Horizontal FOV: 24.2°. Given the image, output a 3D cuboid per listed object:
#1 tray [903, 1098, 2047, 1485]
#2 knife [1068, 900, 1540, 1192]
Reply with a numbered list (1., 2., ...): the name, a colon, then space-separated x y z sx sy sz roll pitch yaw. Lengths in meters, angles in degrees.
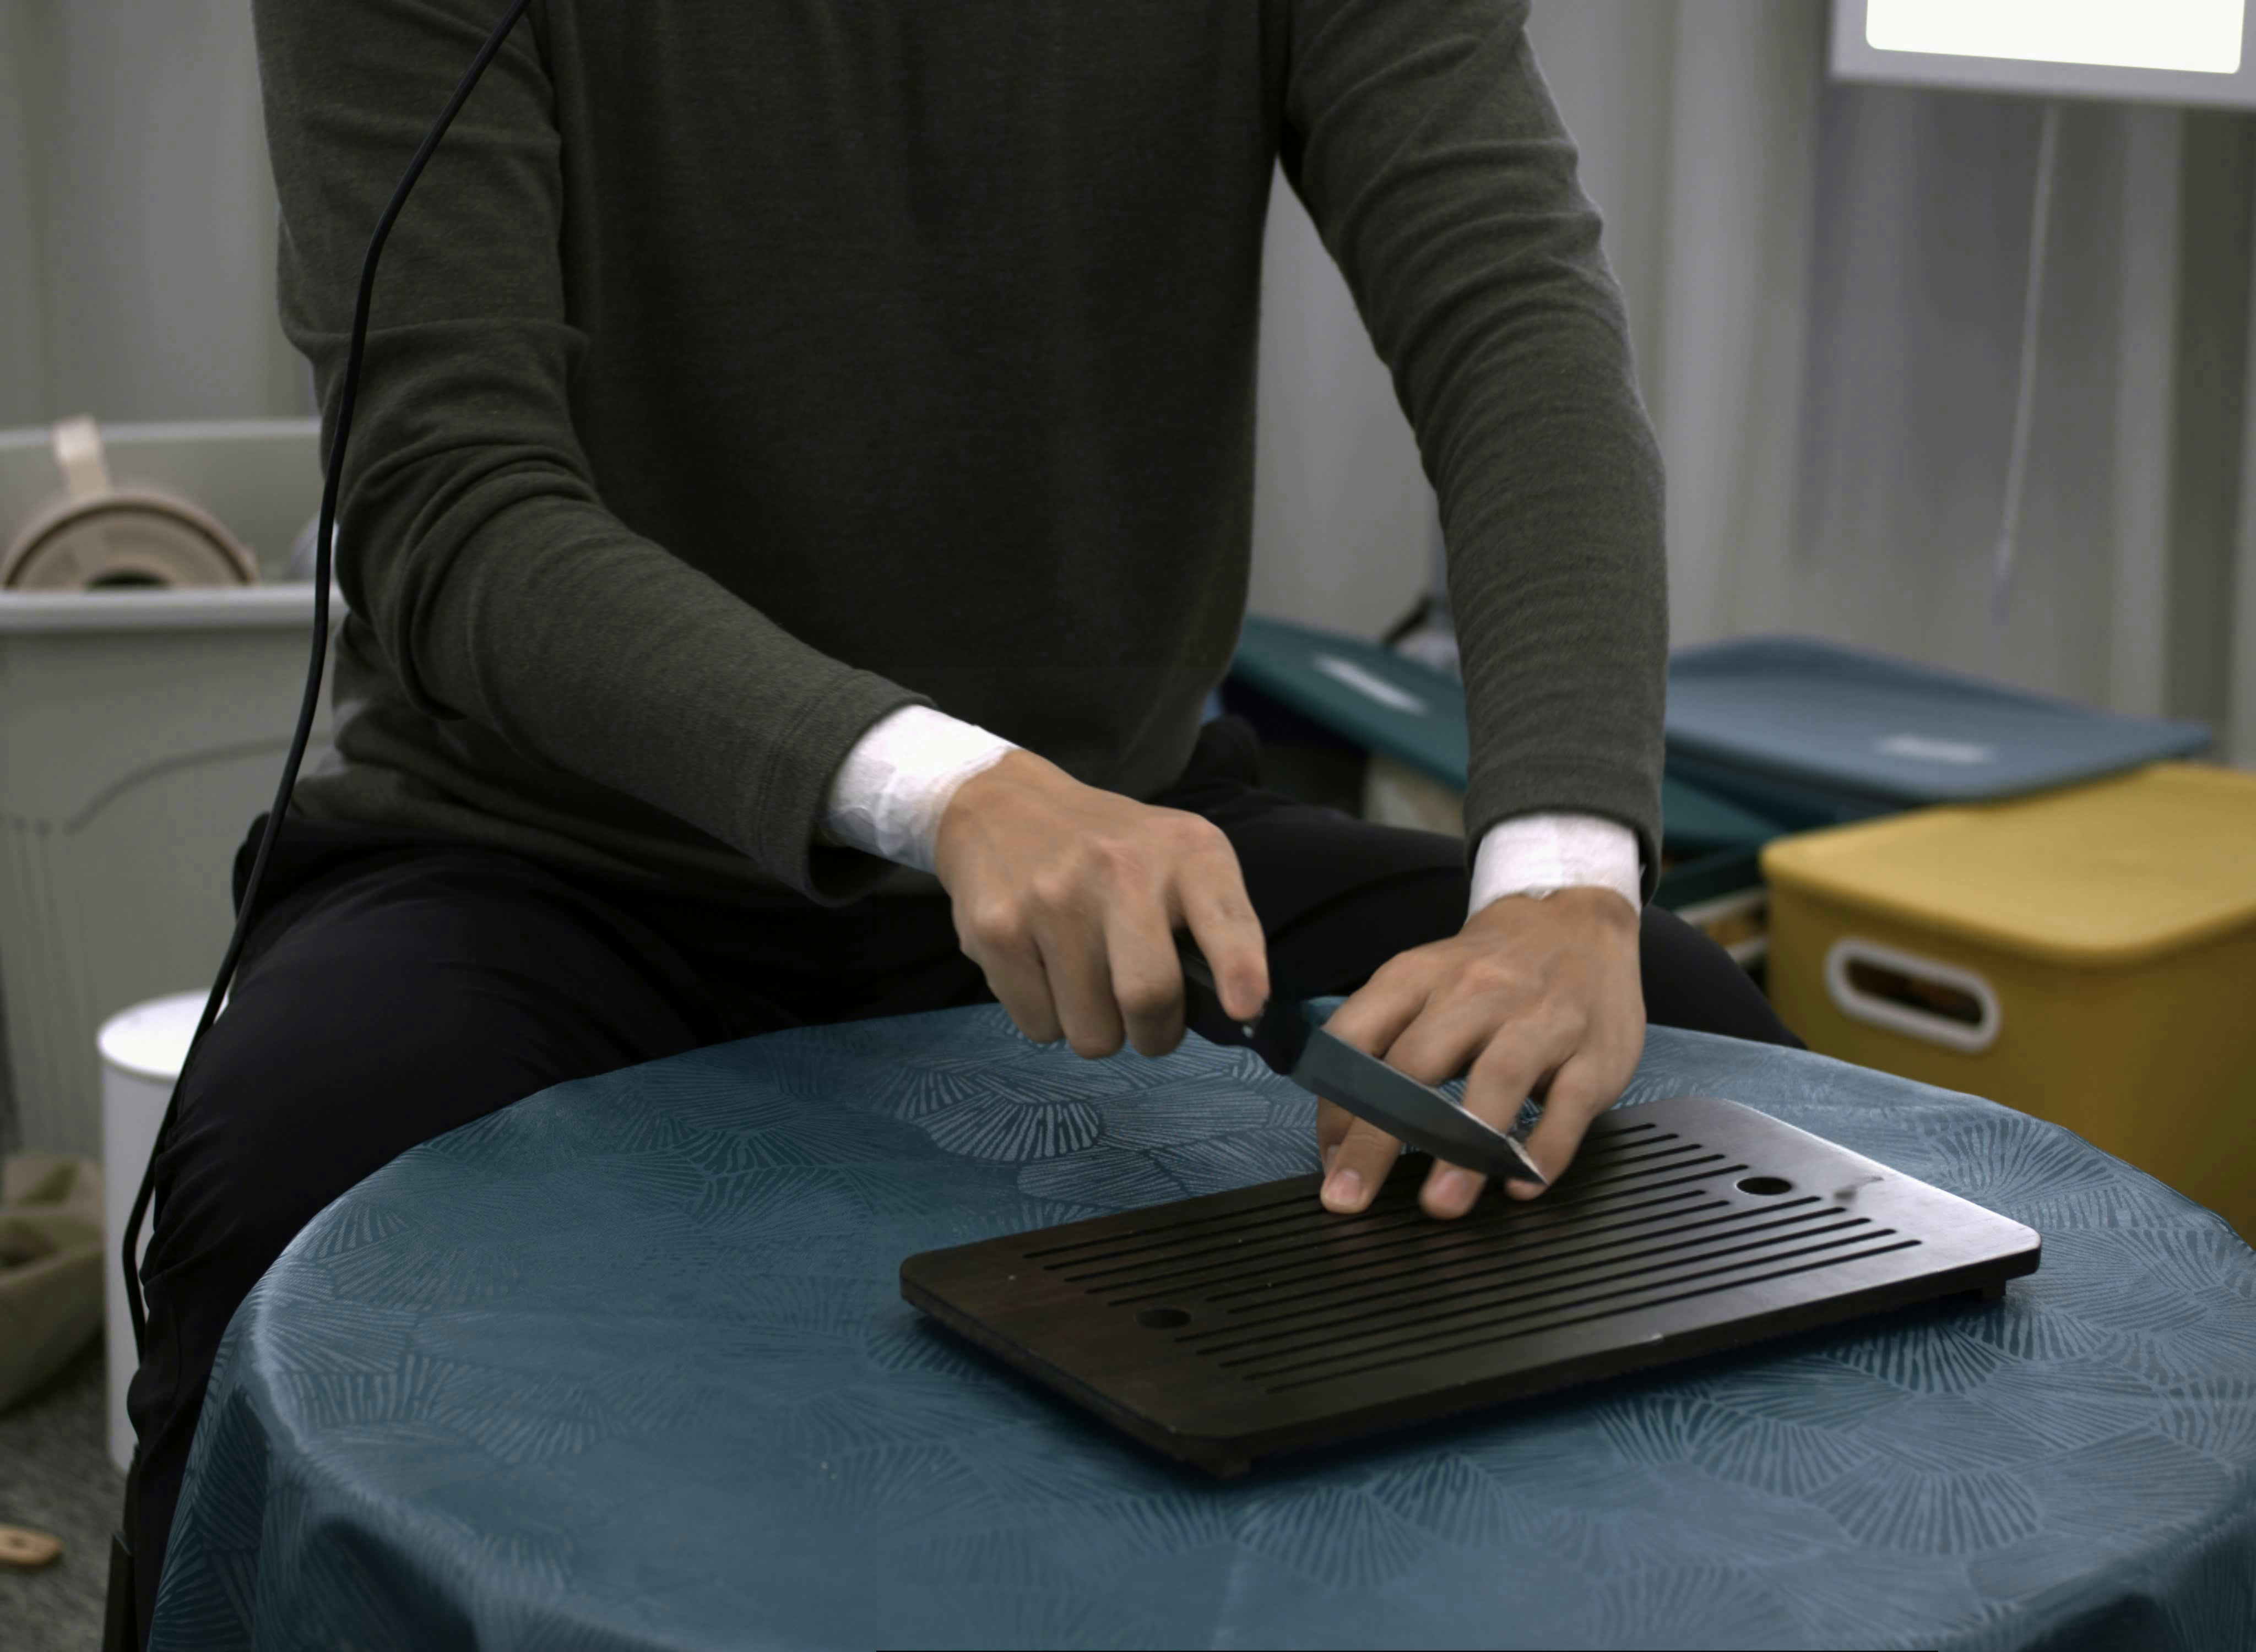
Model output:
1. tray: 0.102 0.131 1.527 0.307 0.019 0.168 -9 17 -32
2. knife: 0.050 0.063 1.556 0.016 0.024 0.235 -7 21 -33
